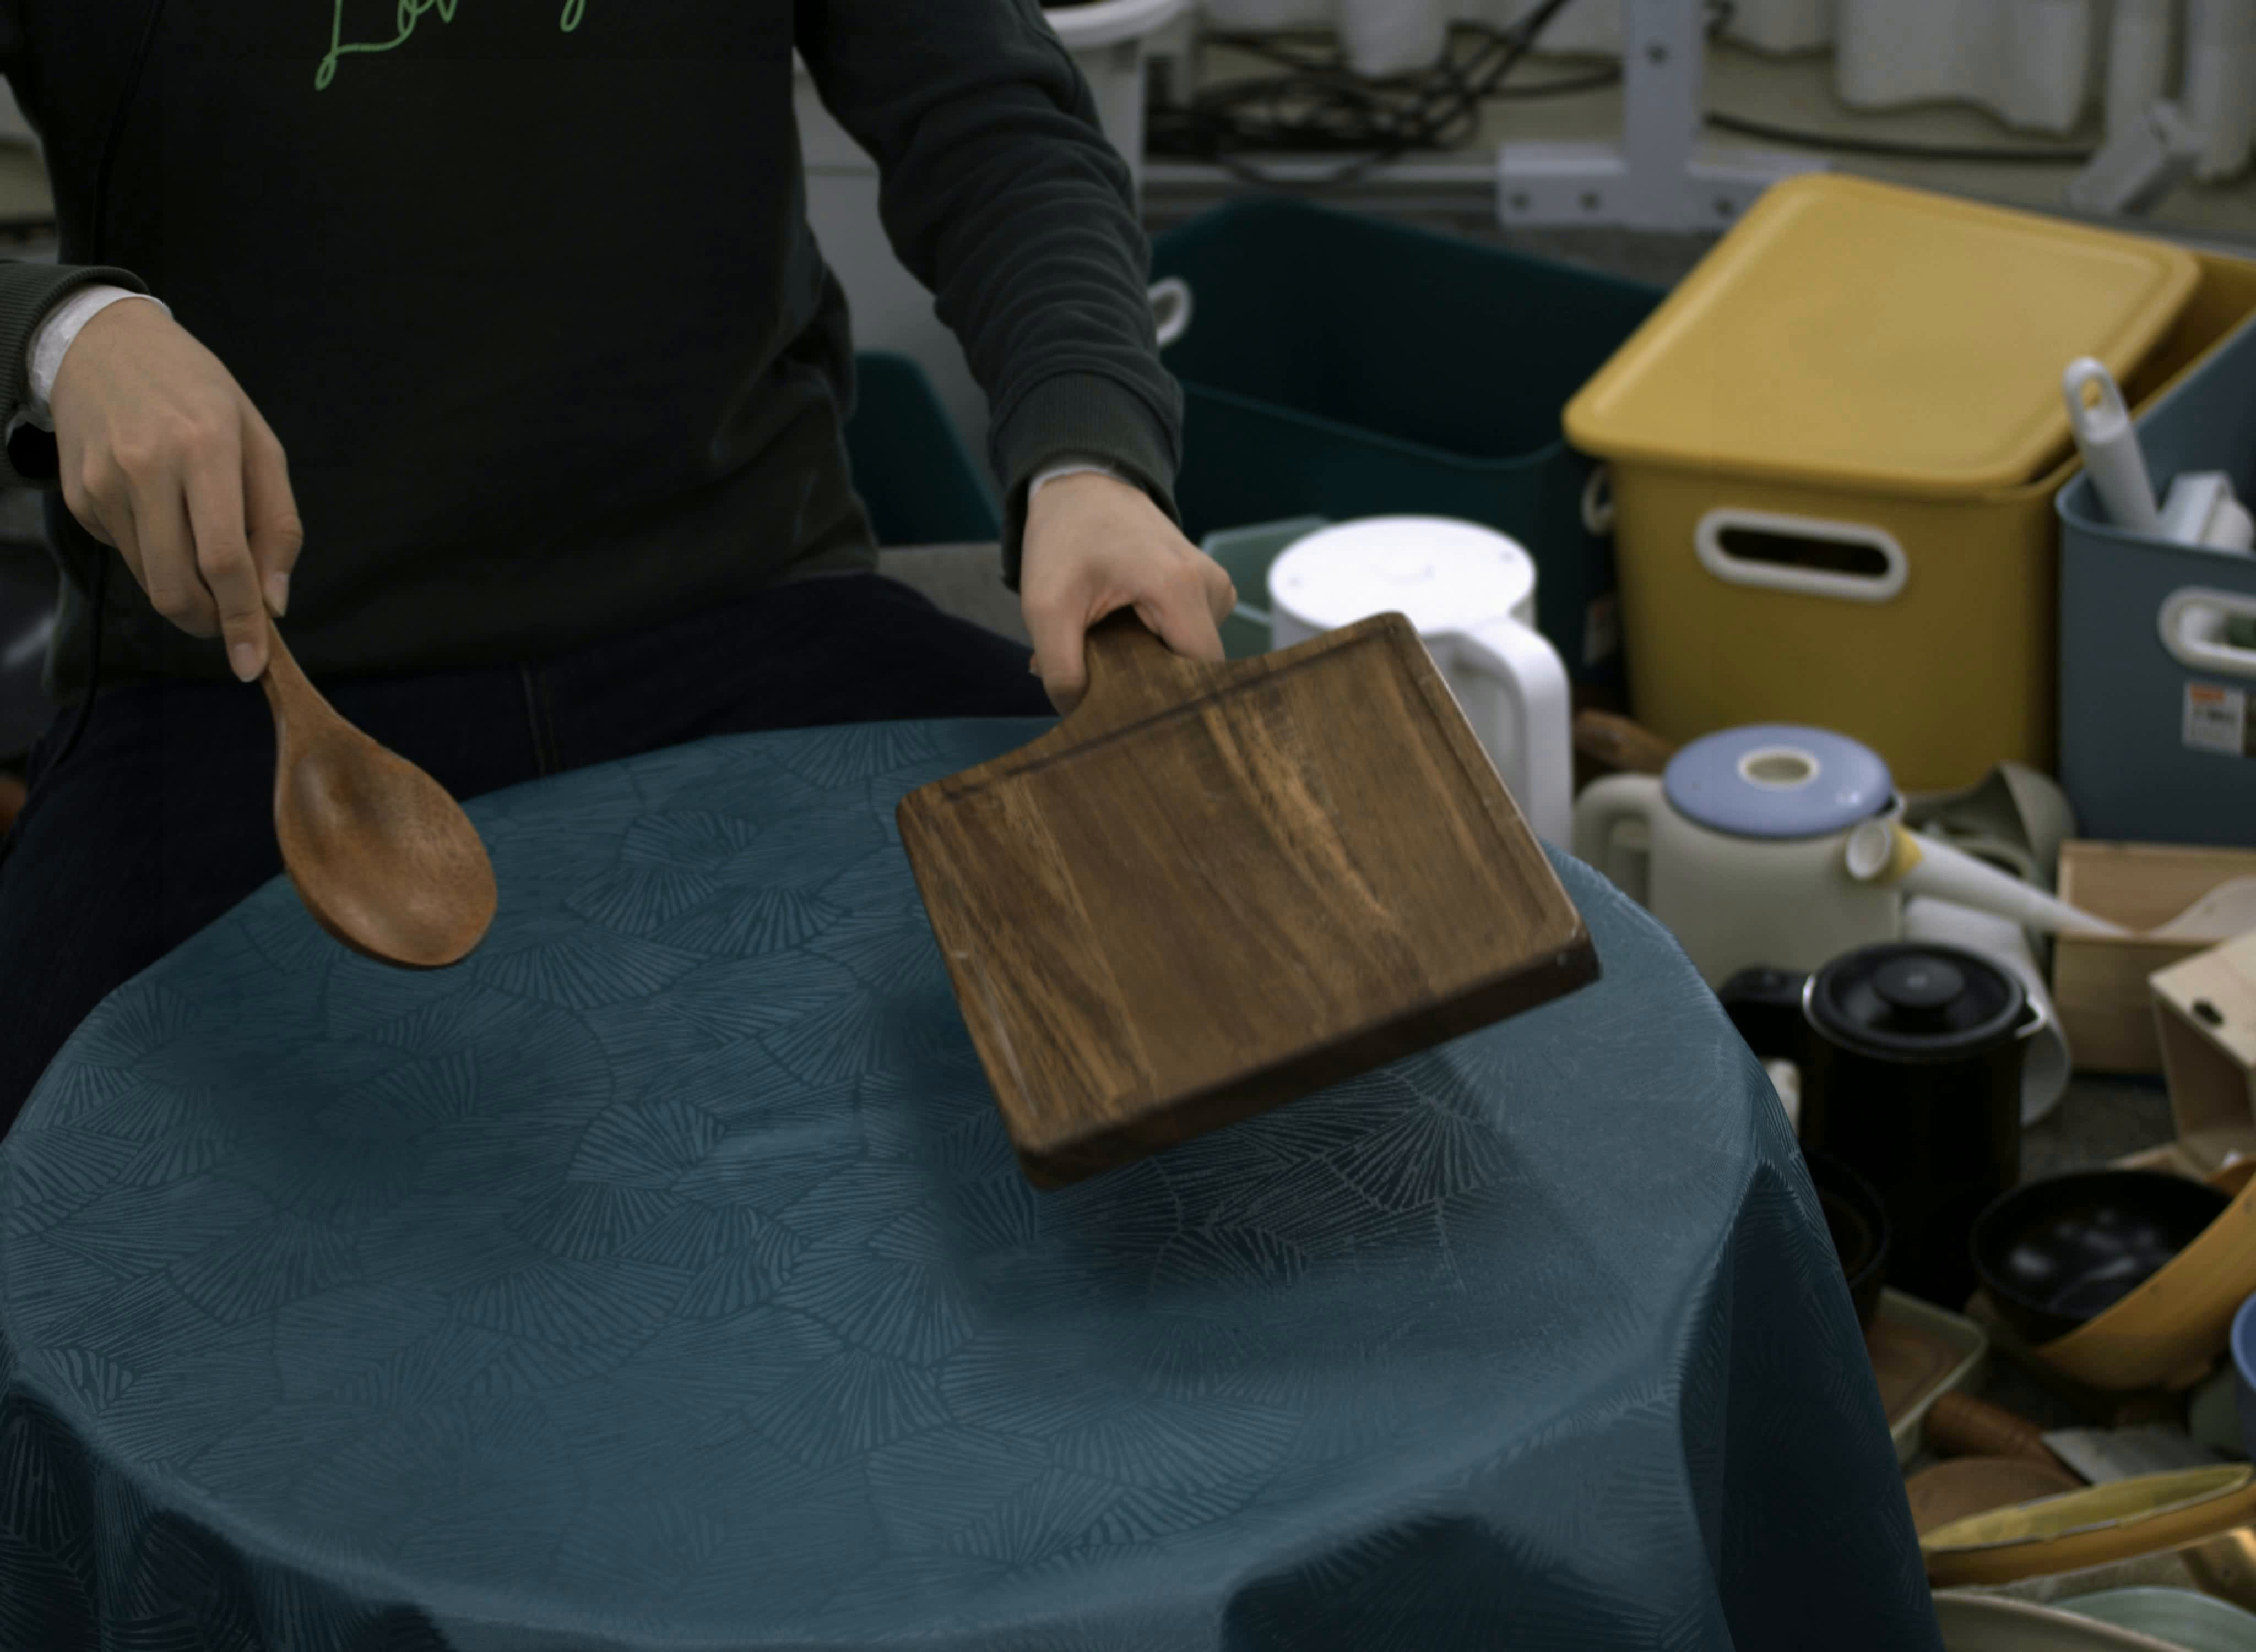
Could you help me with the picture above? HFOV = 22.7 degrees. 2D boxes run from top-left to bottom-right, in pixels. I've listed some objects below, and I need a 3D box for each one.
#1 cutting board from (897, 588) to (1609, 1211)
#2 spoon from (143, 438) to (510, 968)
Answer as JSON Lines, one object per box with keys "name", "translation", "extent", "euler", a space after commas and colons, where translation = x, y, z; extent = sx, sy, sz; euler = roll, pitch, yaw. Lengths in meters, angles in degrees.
{"name": "cutting board", "translation": [0.026, 0.001, 1.921], "extent": [0.200, 0.023, 0.356], "euler": [-22, 29, -1]}
{"name": "spoon", "translation": [-0.274, -0.040, 1.874], "extent": [0.076, 0.017, 0.218], "euler": [-14, 65, -39]}
